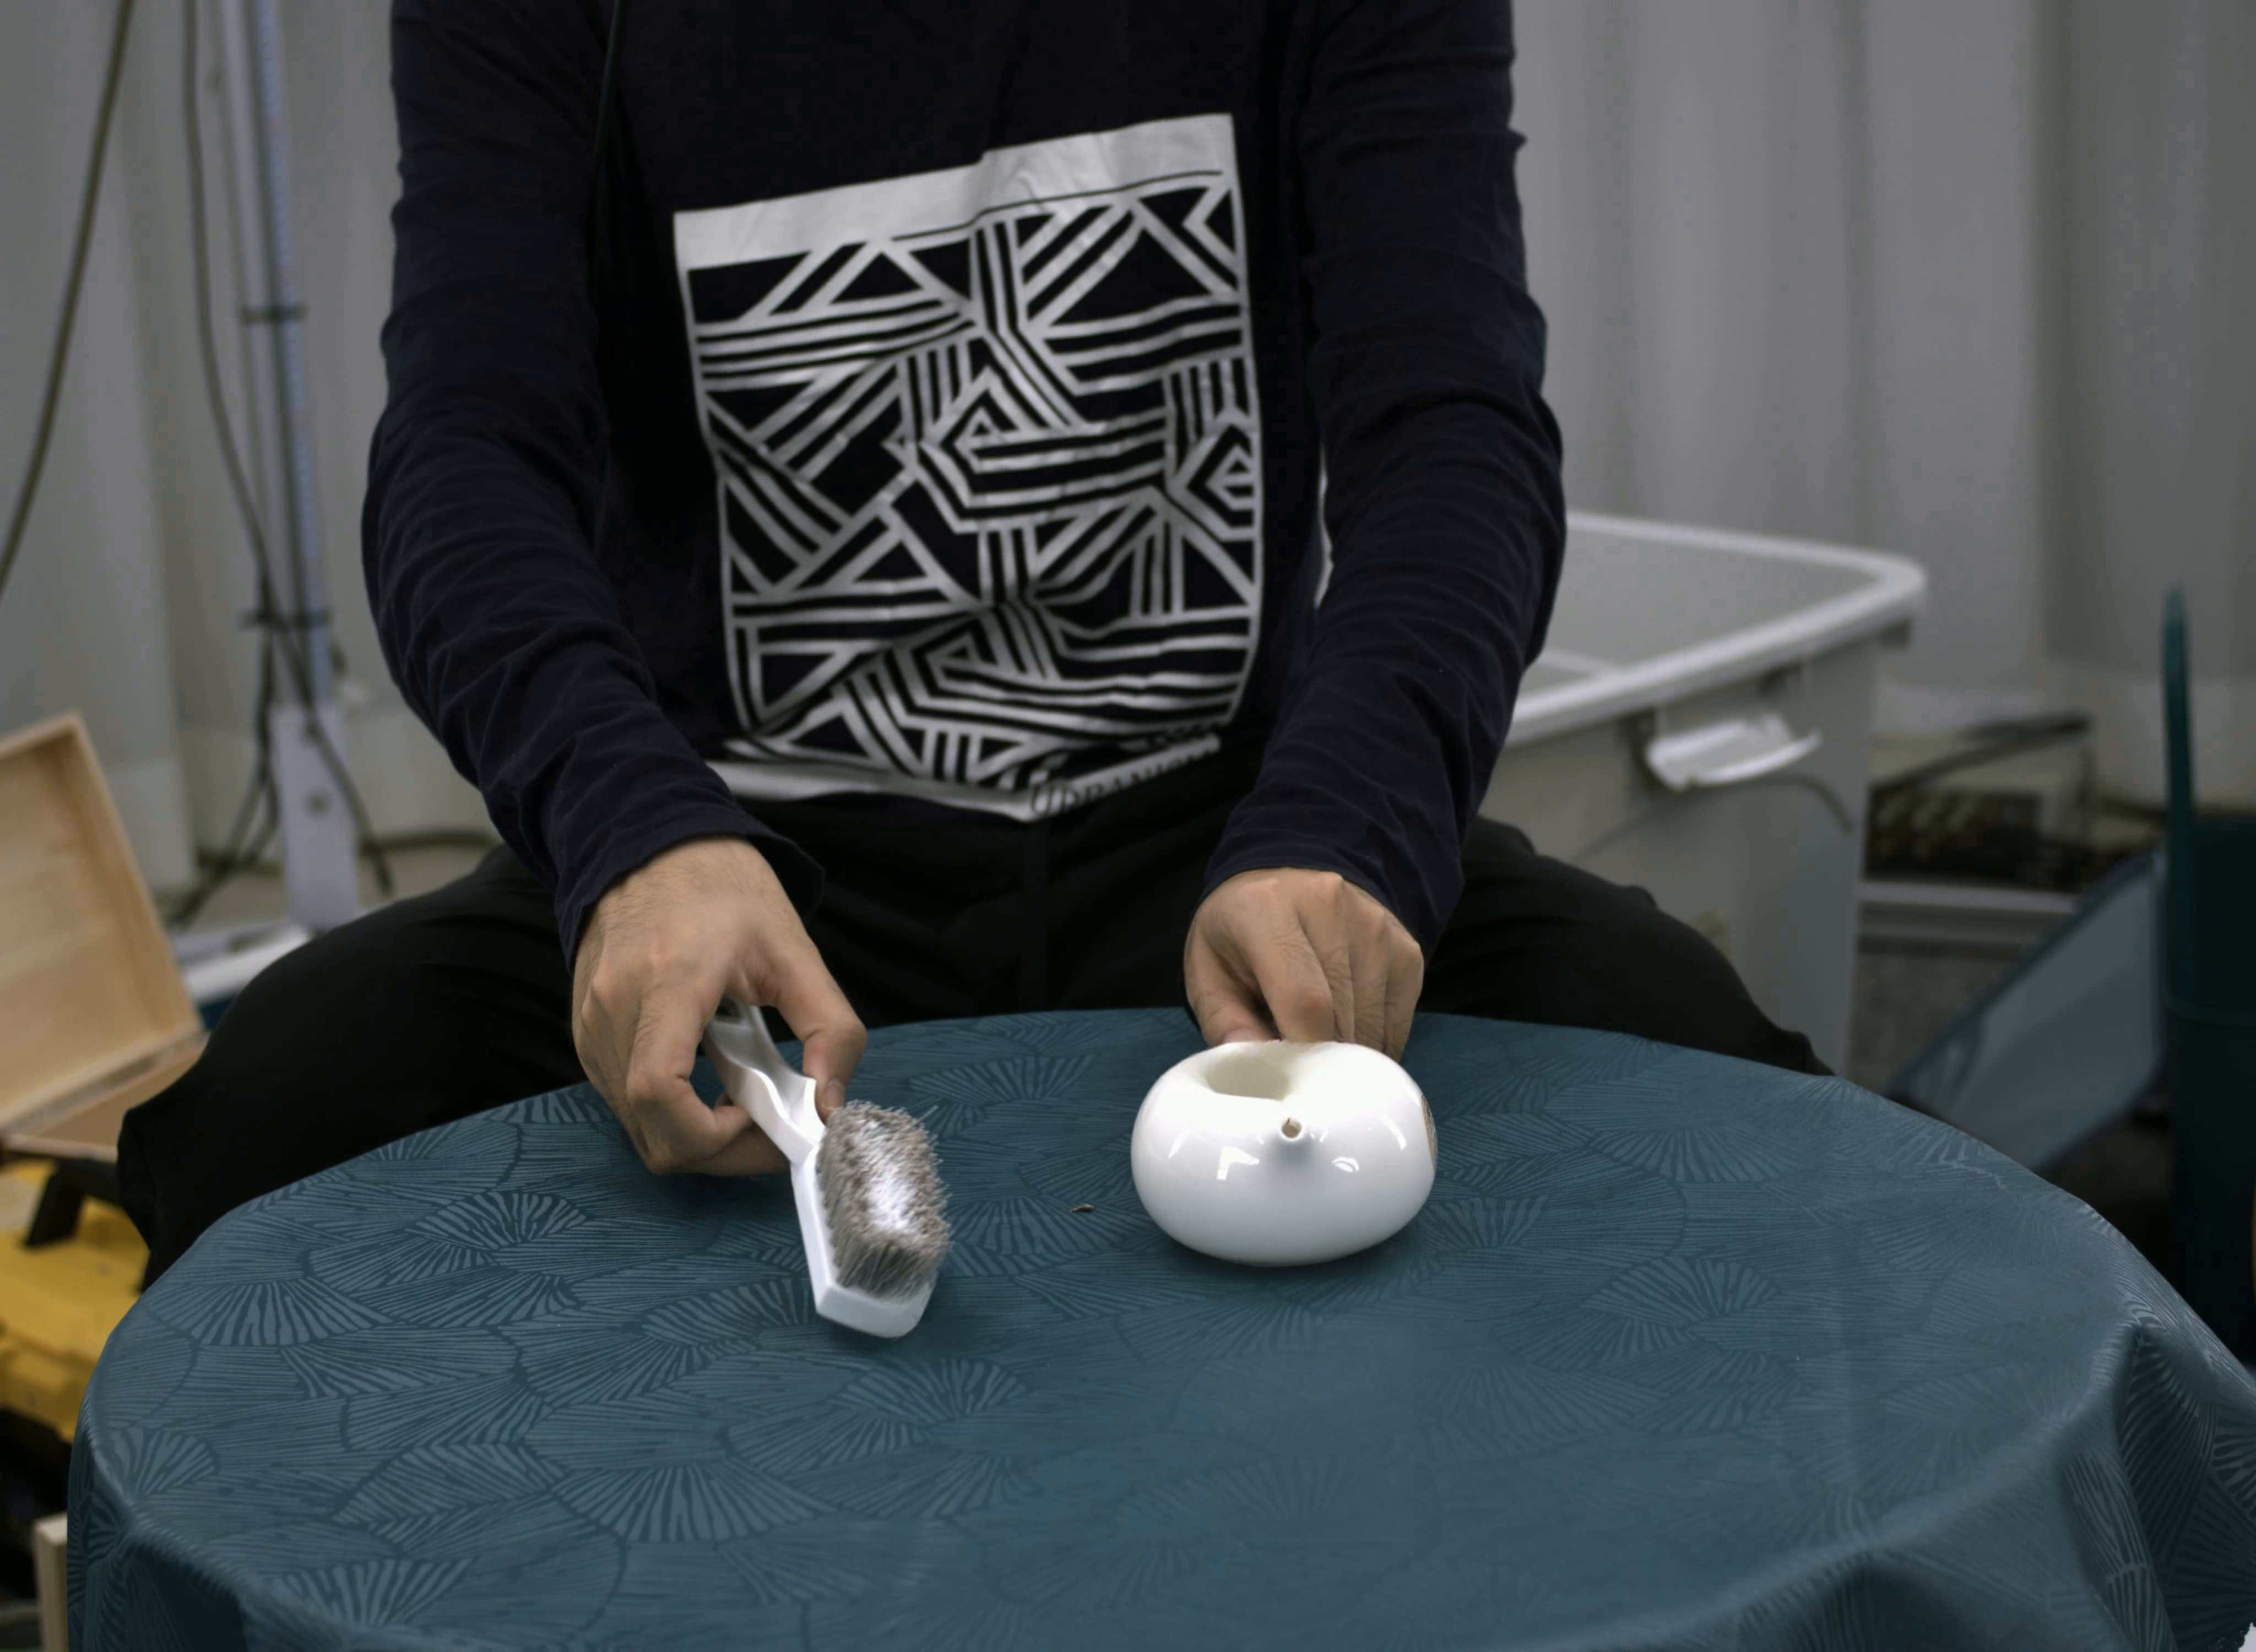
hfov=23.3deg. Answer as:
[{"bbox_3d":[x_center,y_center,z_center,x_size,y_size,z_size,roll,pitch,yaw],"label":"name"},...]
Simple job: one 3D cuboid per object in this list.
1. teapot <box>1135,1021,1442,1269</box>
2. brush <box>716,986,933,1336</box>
[{"bbox_3d":[0.047,0.097,1.670,0.093,0.056,0.128,-9,14,-5],"label":"teapot"},{"bbox_3d":[-0.097,0.084,1.688,0.034,0.050,0.246,6,21,-15],"label":"brush"}]
